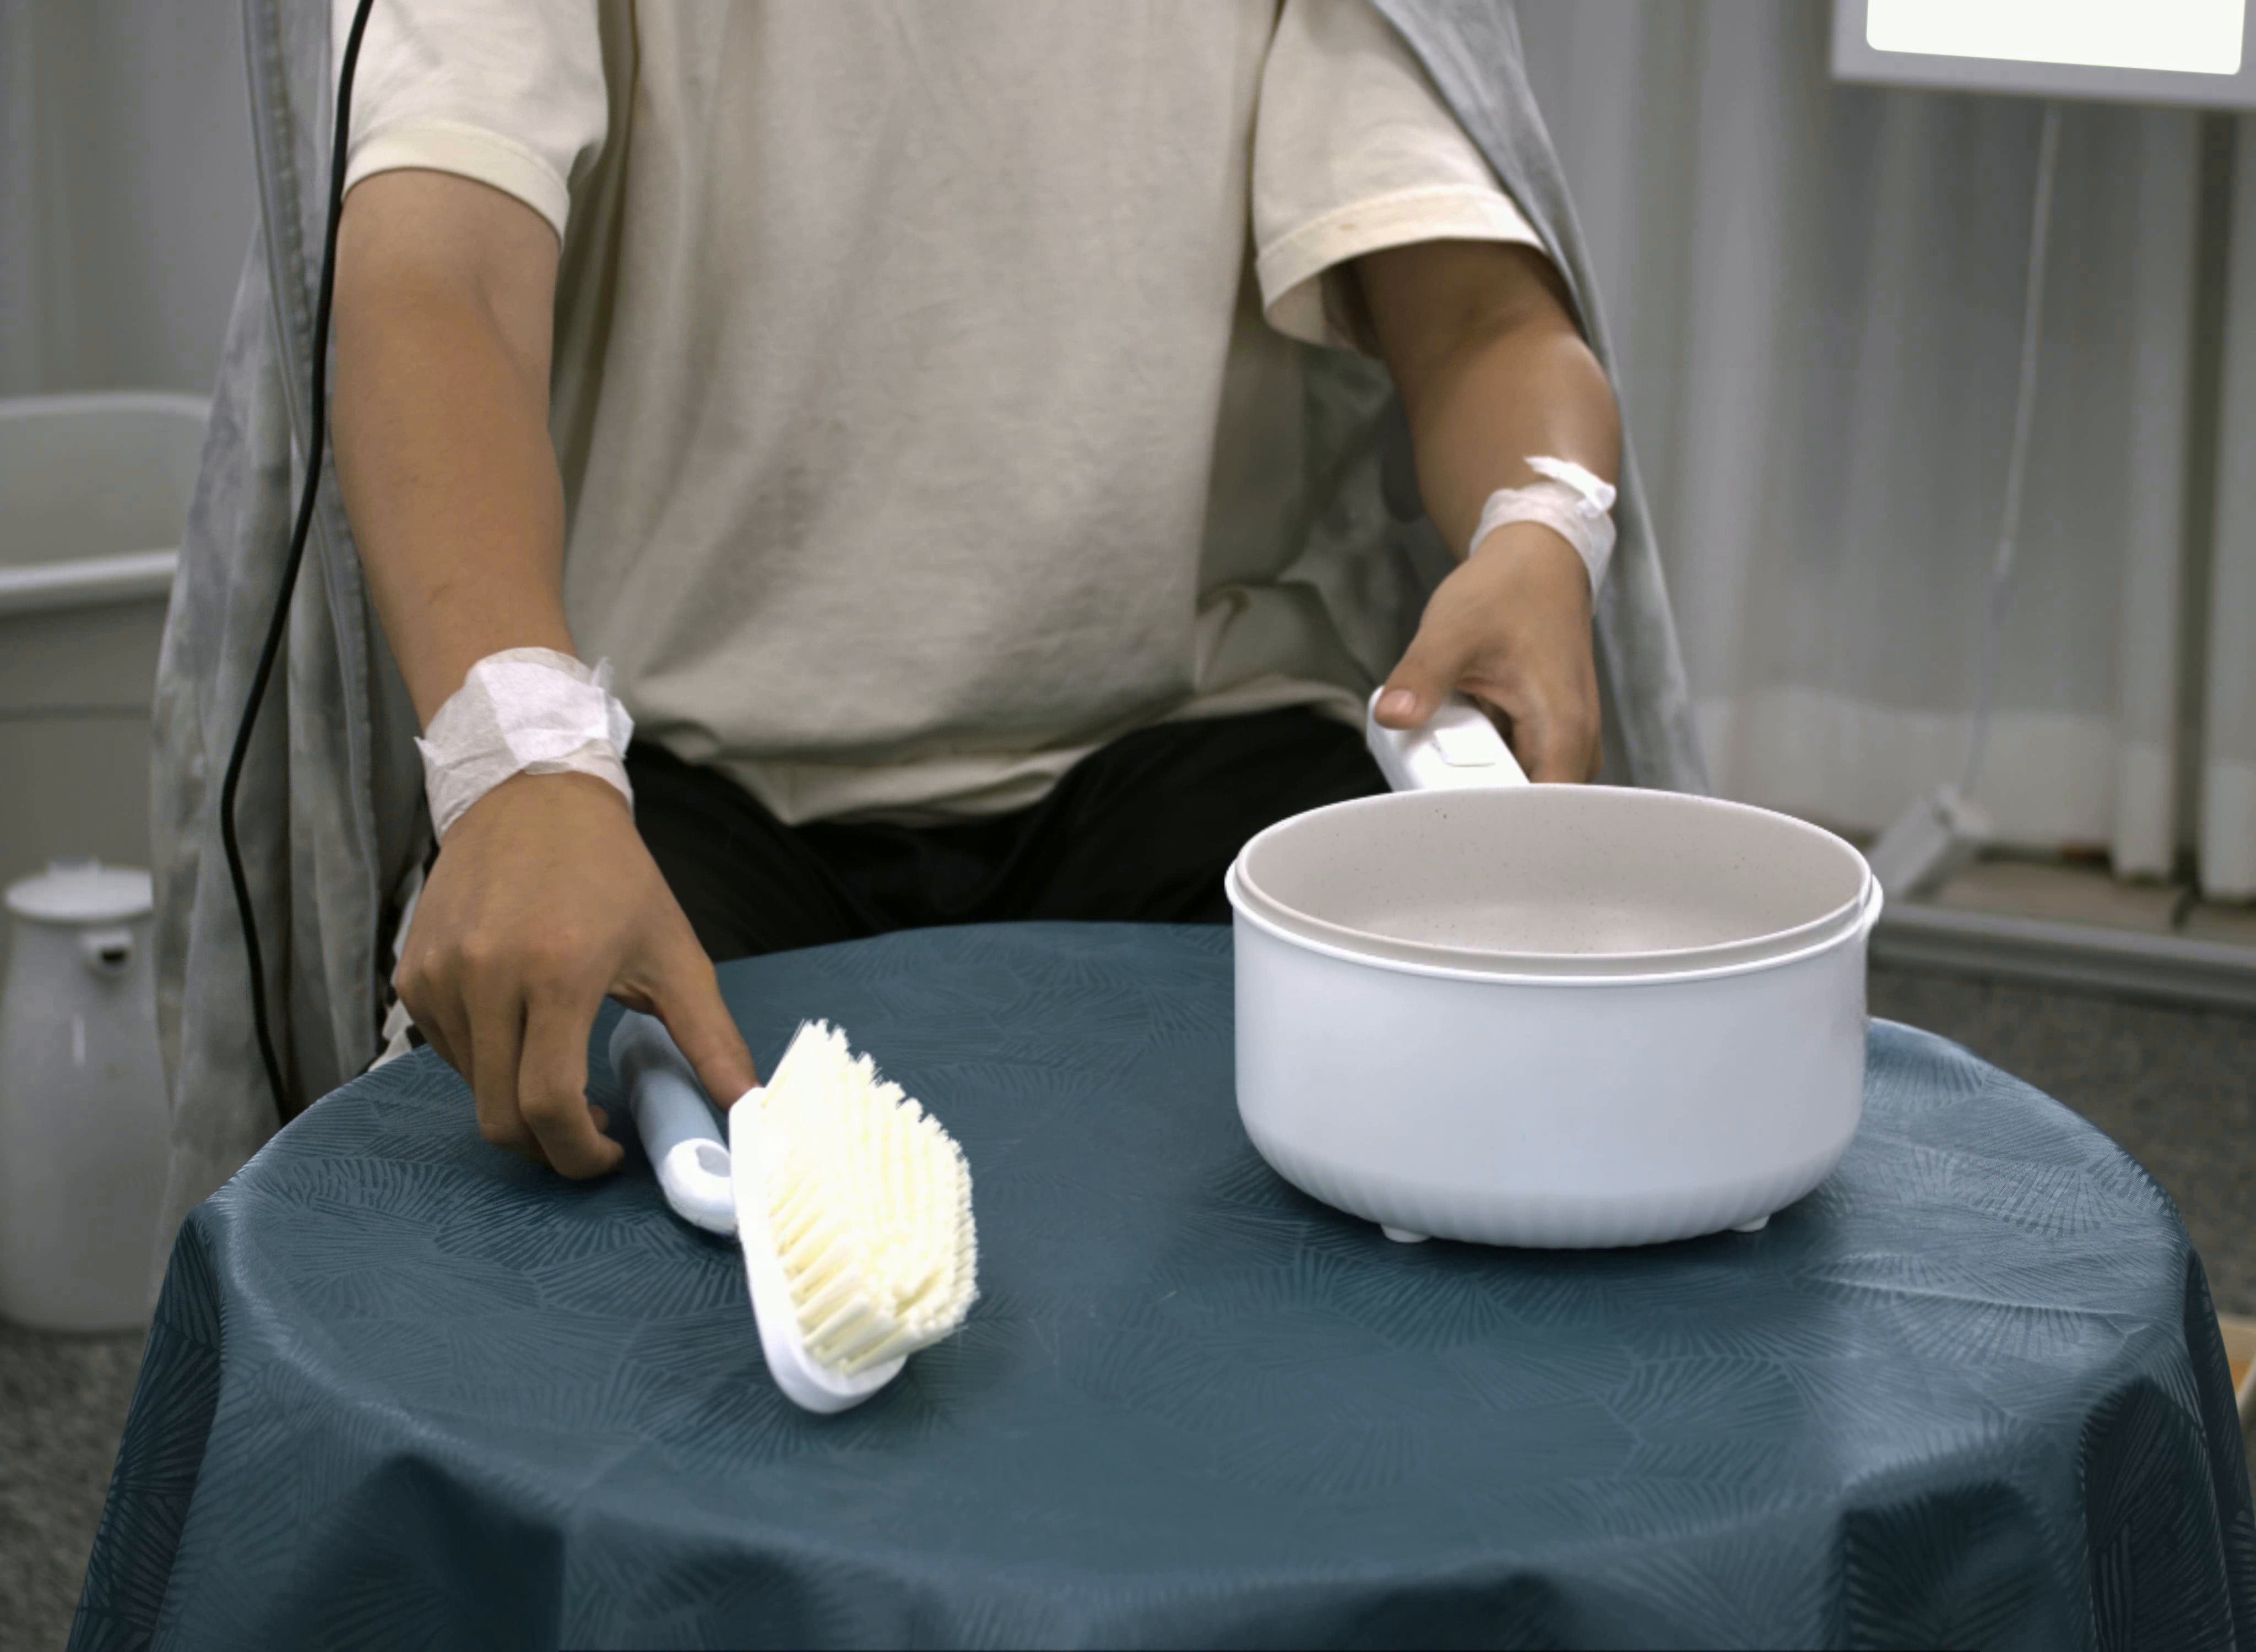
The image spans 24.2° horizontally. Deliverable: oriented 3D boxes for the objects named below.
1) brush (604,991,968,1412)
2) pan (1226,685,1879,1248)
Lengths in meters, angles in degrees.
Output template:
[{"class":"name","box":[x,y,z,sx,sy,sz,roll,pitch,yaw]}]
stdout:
[{"class":"brush","box":[-0.102,0.082,1.576,0.084,0.084,0.322,-9,18,-10]},{"class":"pan","box":[0.122,0.041,1.702,0.201,0.103,0.352,-1,15,-6]}]
